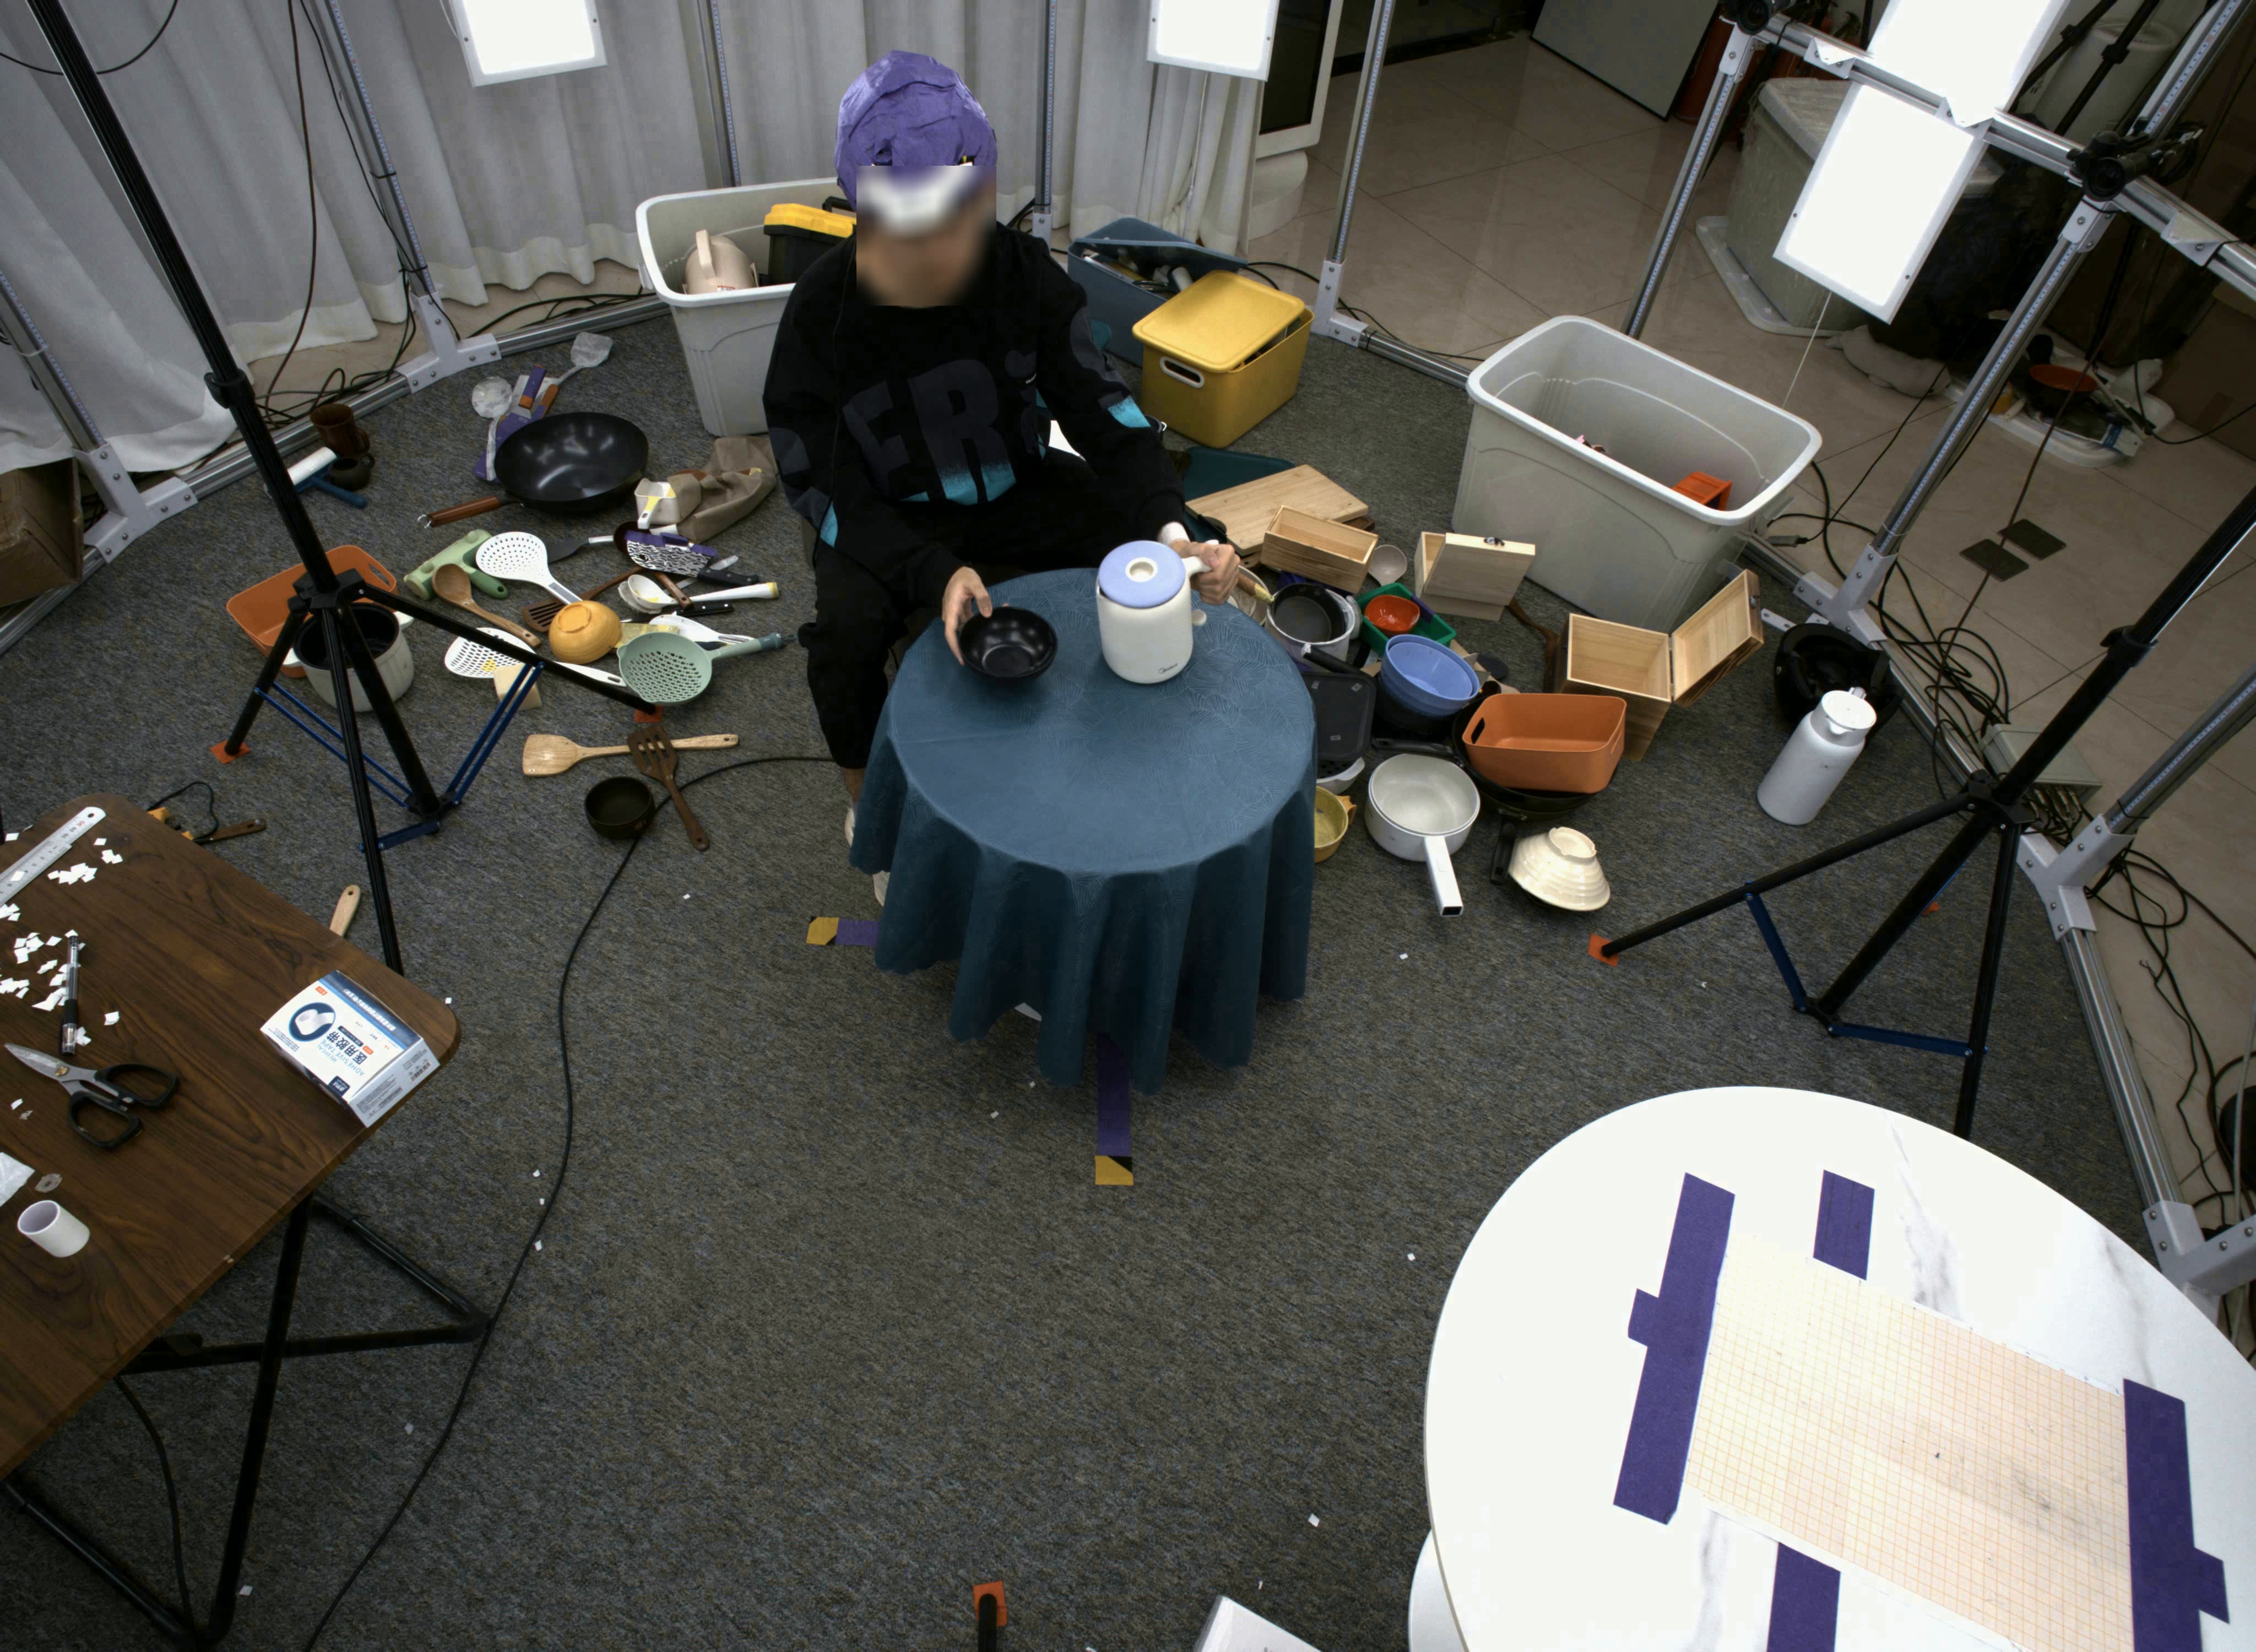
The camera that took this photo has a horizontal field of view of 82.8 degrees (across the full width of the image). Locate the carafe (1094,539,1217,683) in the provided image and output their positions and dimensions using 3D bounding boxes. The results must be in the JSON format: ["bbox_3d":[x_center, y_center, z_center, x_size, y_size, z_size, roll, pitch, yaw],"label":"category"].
[{"bbox_3d":[0.044,-0.312,1.812,0.191,0.178,0.135,-26,61,-13],"label":"carafe"}]

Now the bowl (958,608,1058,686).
[{"bbox_3d":[-0.167,-0.243,1.806,0.140,0.048,0.143,2,50,-3],"label":"bowl"}]
